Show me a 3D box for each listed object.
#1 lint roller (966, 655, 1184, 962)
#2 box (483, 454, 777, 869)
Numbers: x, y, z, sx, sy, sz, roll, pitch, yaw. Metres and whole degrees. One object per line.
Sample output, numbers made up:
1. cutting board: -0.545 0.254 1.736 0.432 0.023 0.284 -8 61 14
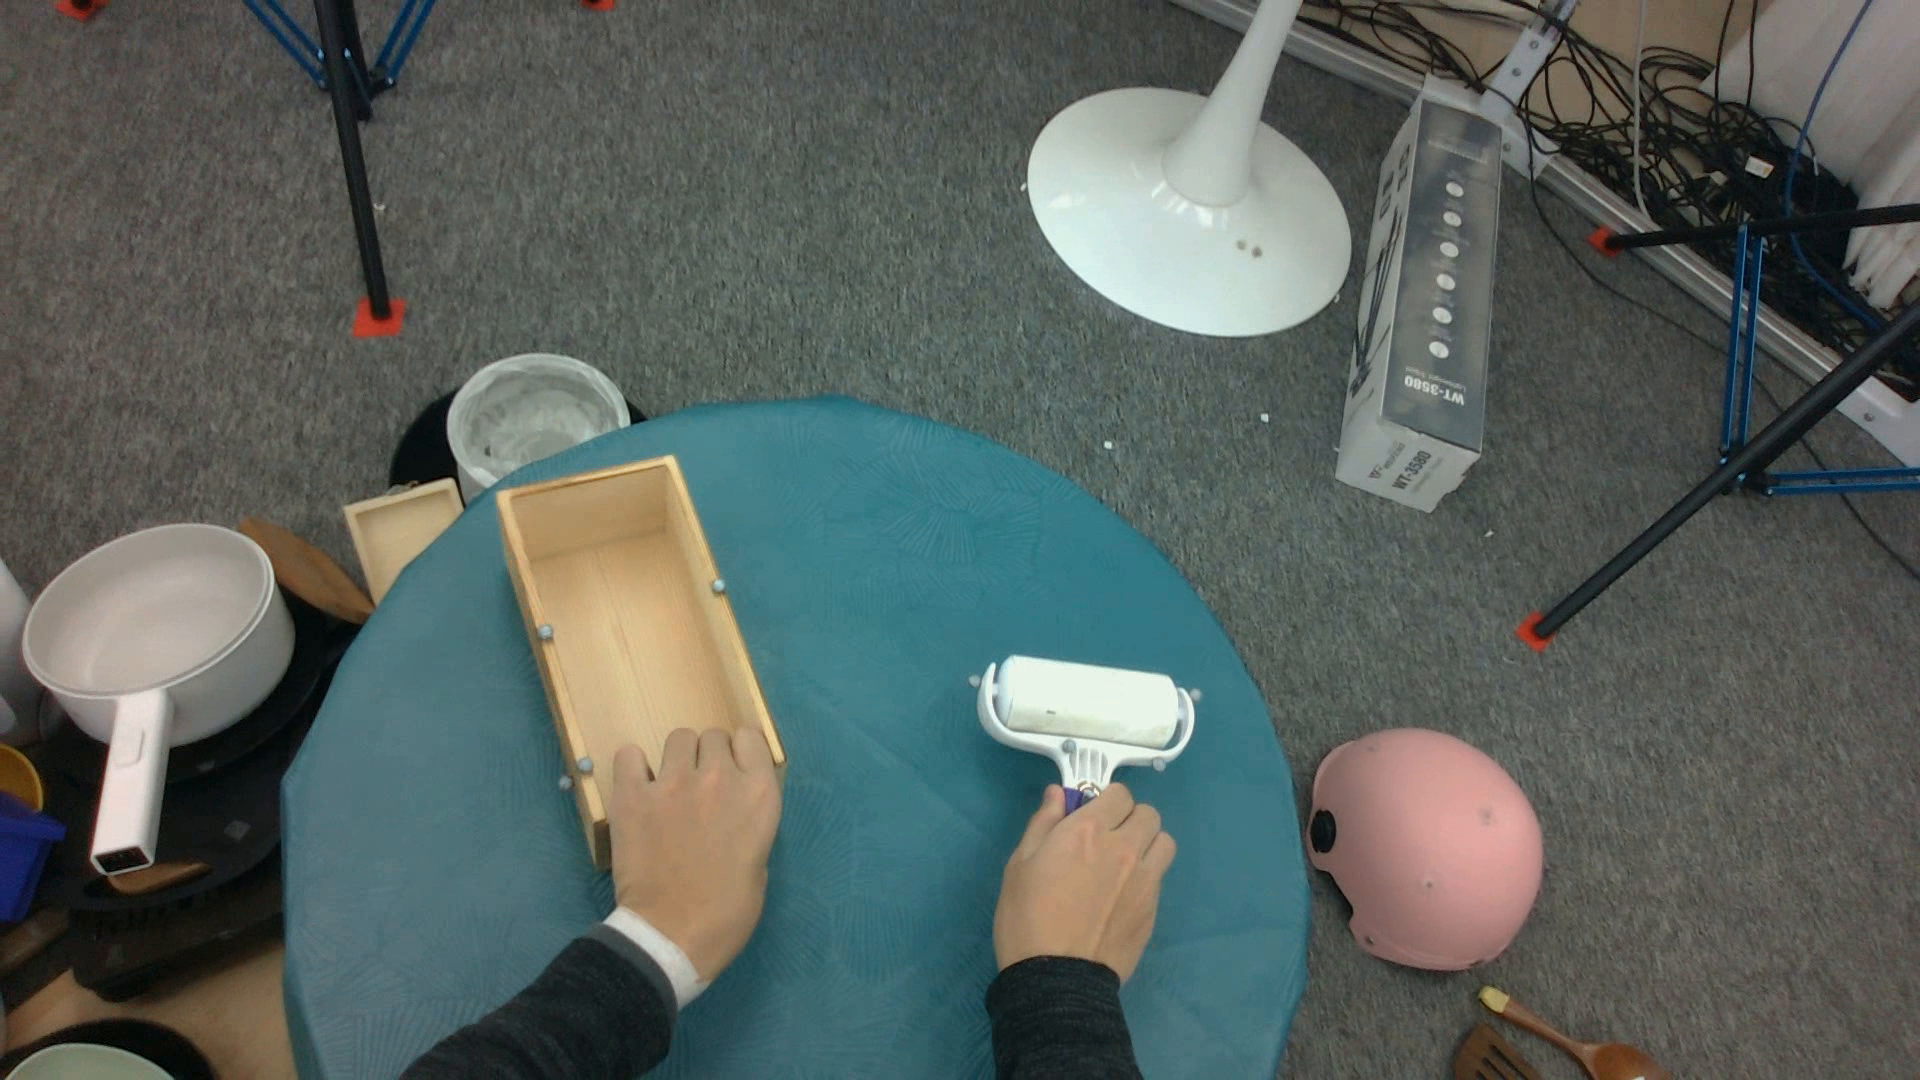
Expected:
1. lint roller: 0.067 0.149 0.798 0.133 0.050 0.181 10 49 -8
2. box: -0.196 0.066 0.803 0.108 0.080 0.212 -15 64 -23
